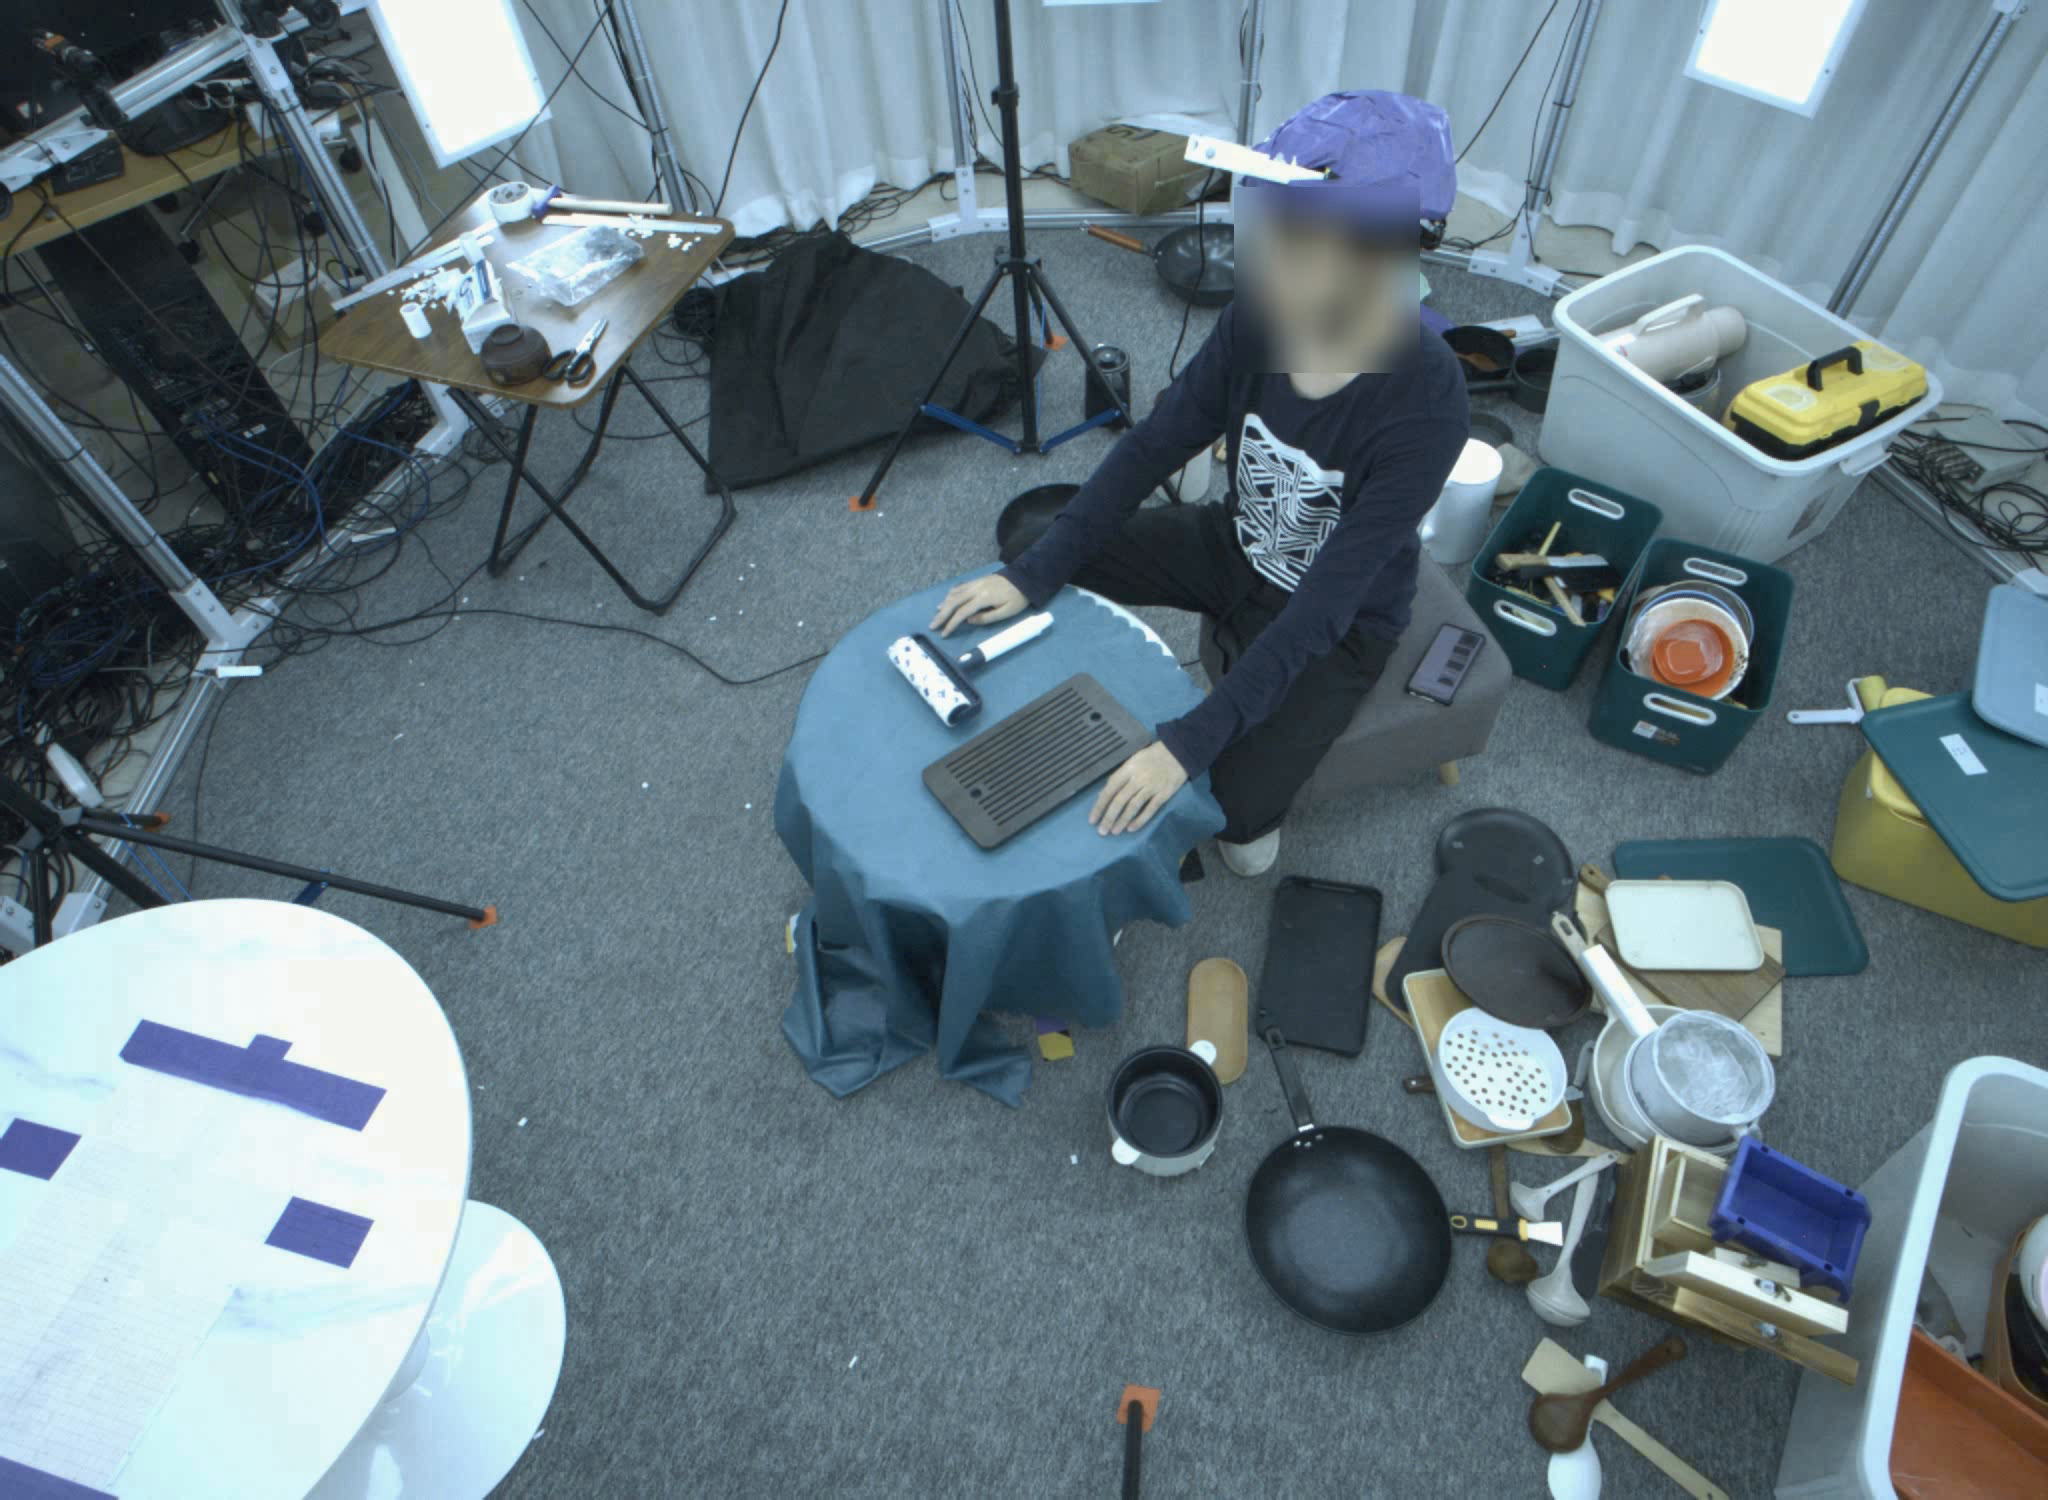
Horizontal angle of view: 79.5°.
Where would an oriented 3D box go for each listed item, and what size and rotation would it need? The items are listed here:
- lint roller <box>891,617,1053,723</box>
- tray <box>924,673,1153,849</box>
[{"bbox_3d":[-0.059,-0.153,1.881,0.249,0.051,0.173,-30,58,-22],"label":"lint roller"},{"bbox_3d":[0.022,0.012,1.774,0.308,0.019,0.167,-32,59,-20],"label":"tray"}]
